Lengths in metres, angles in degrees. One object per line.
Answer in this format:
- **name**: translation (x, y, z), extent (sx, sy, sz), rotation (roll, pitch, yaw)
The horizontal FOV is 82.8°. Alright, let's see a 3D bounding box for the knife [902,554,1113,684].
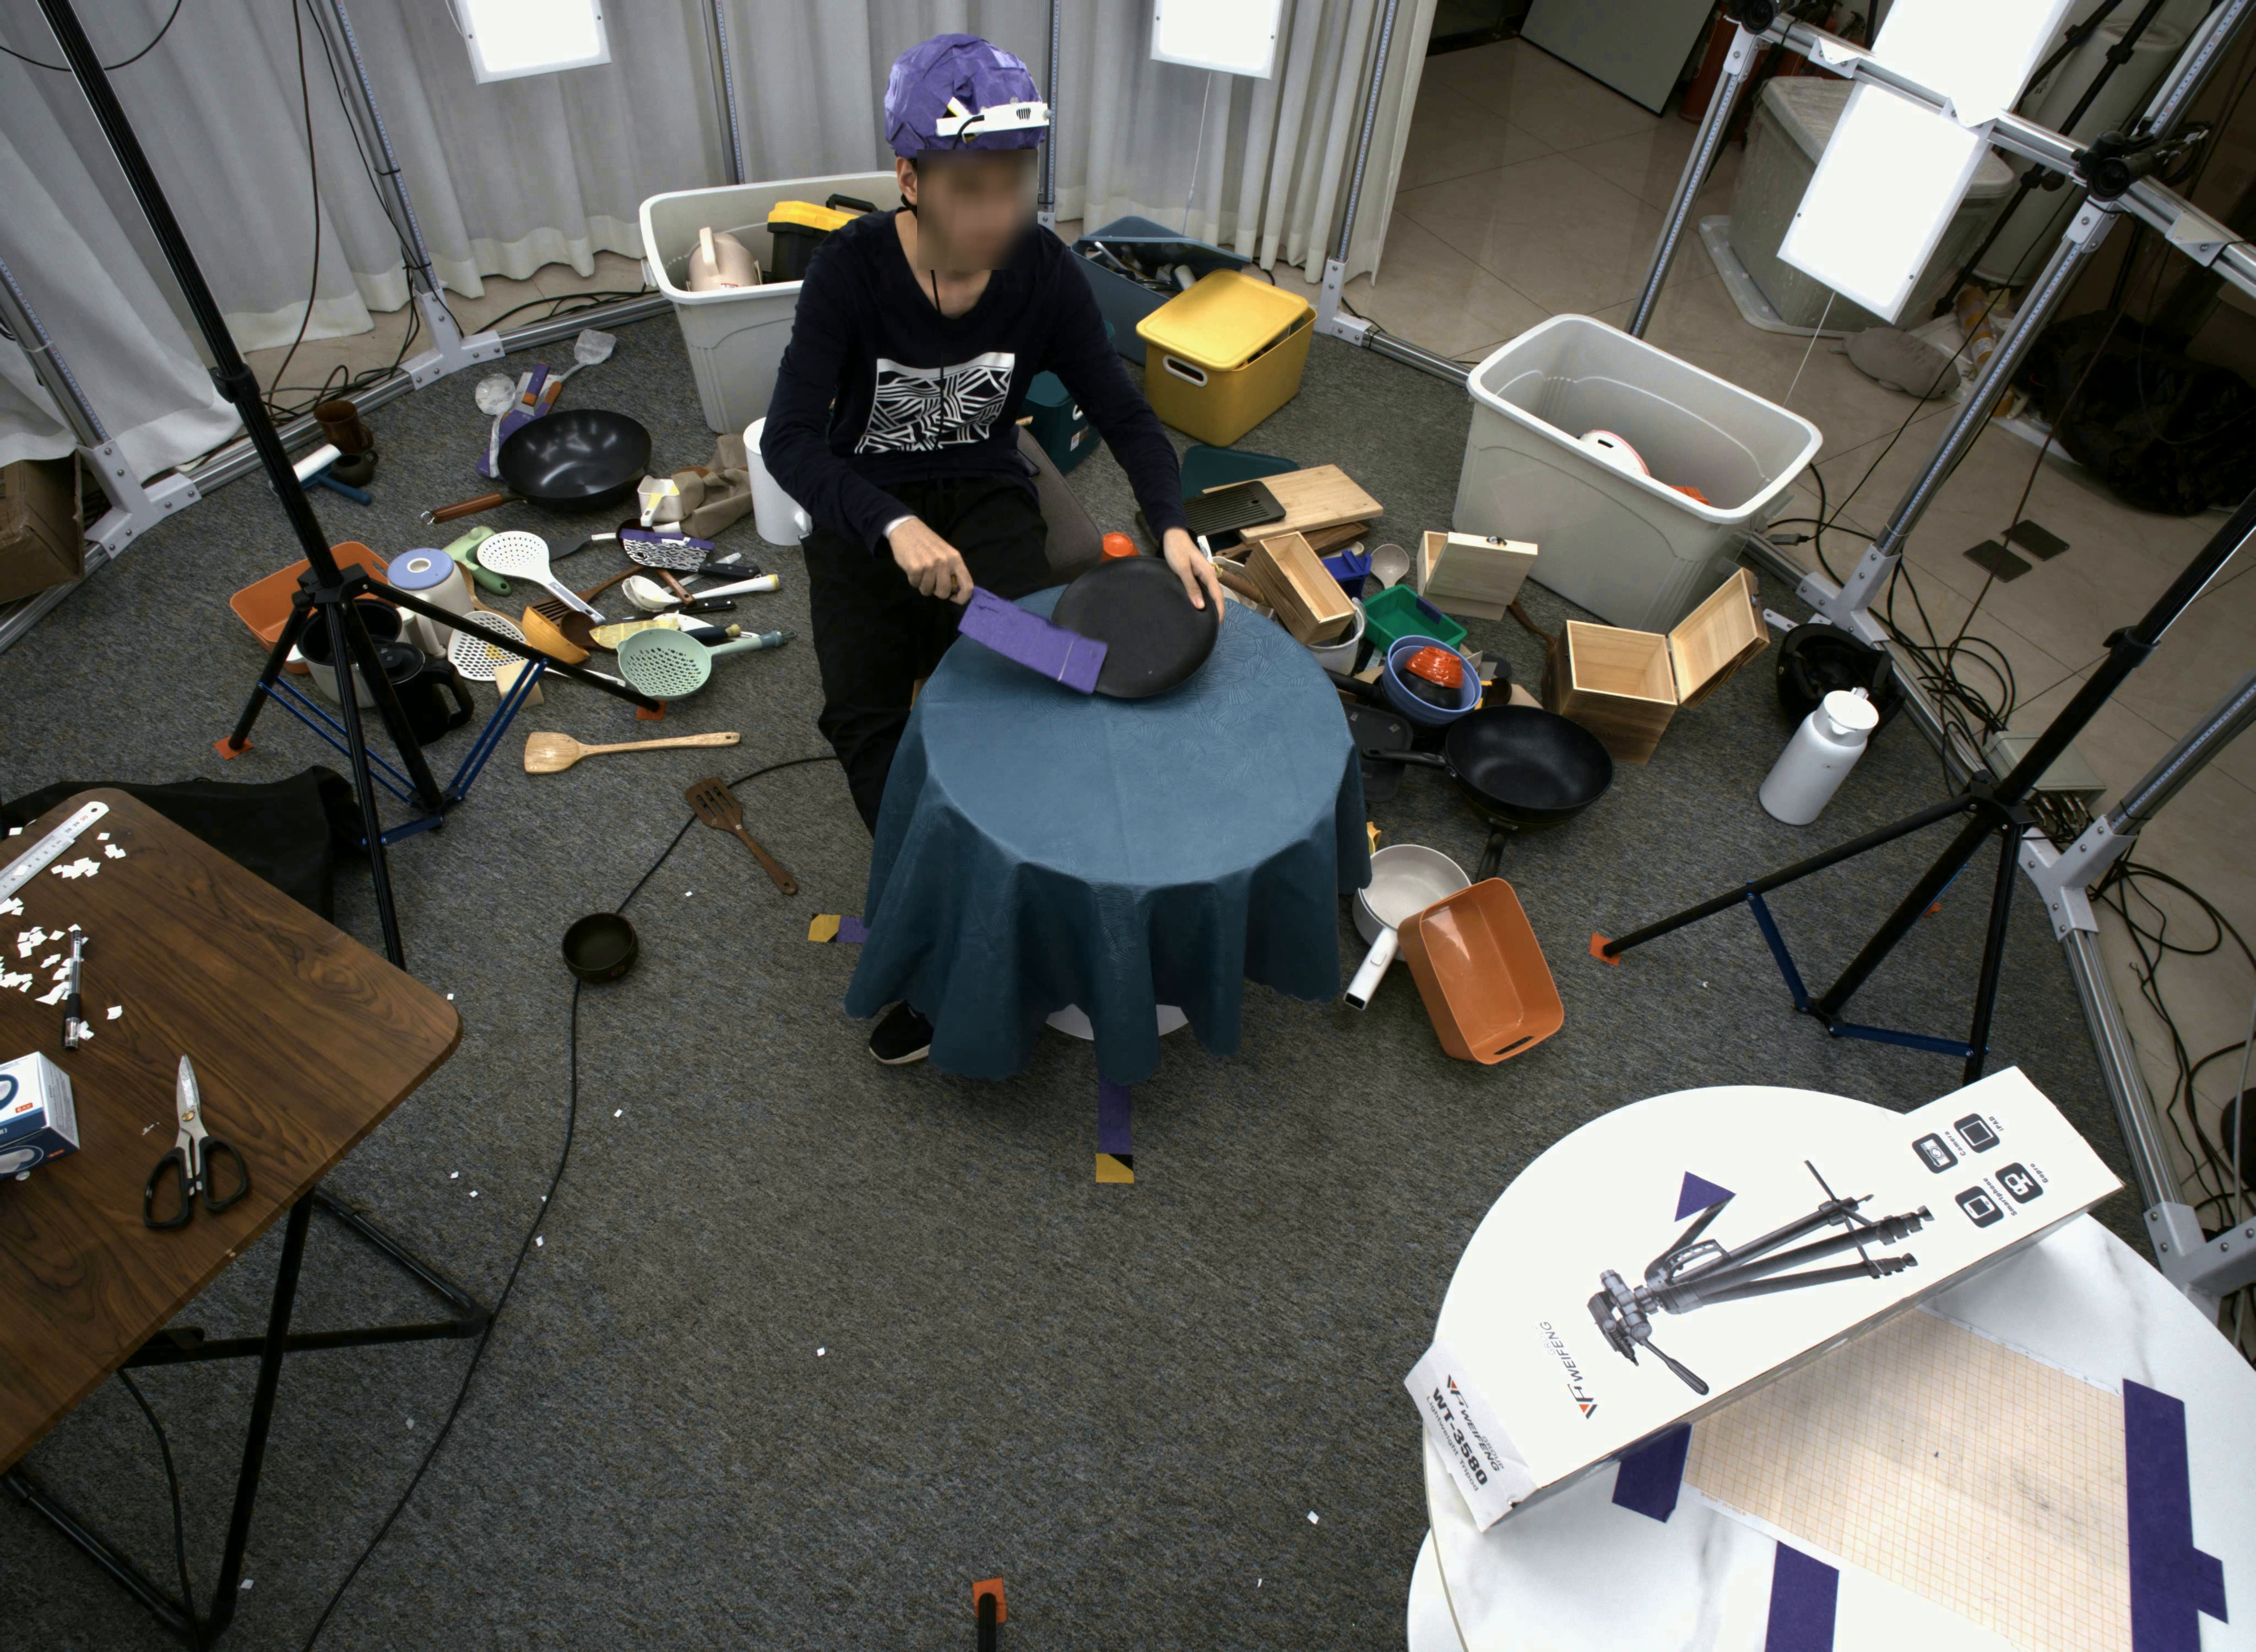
- **knife**: translation (-0.174, -0.289, 1.813), extent (0.314, 0.031, 0.106), rotation (21, 55, -7)

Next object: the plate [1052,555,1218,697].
- **plate**: translation (0.010, -0.290, 1.871), extent (0.244, 0.023, 0.249), rotation (-2, 63, 5)
